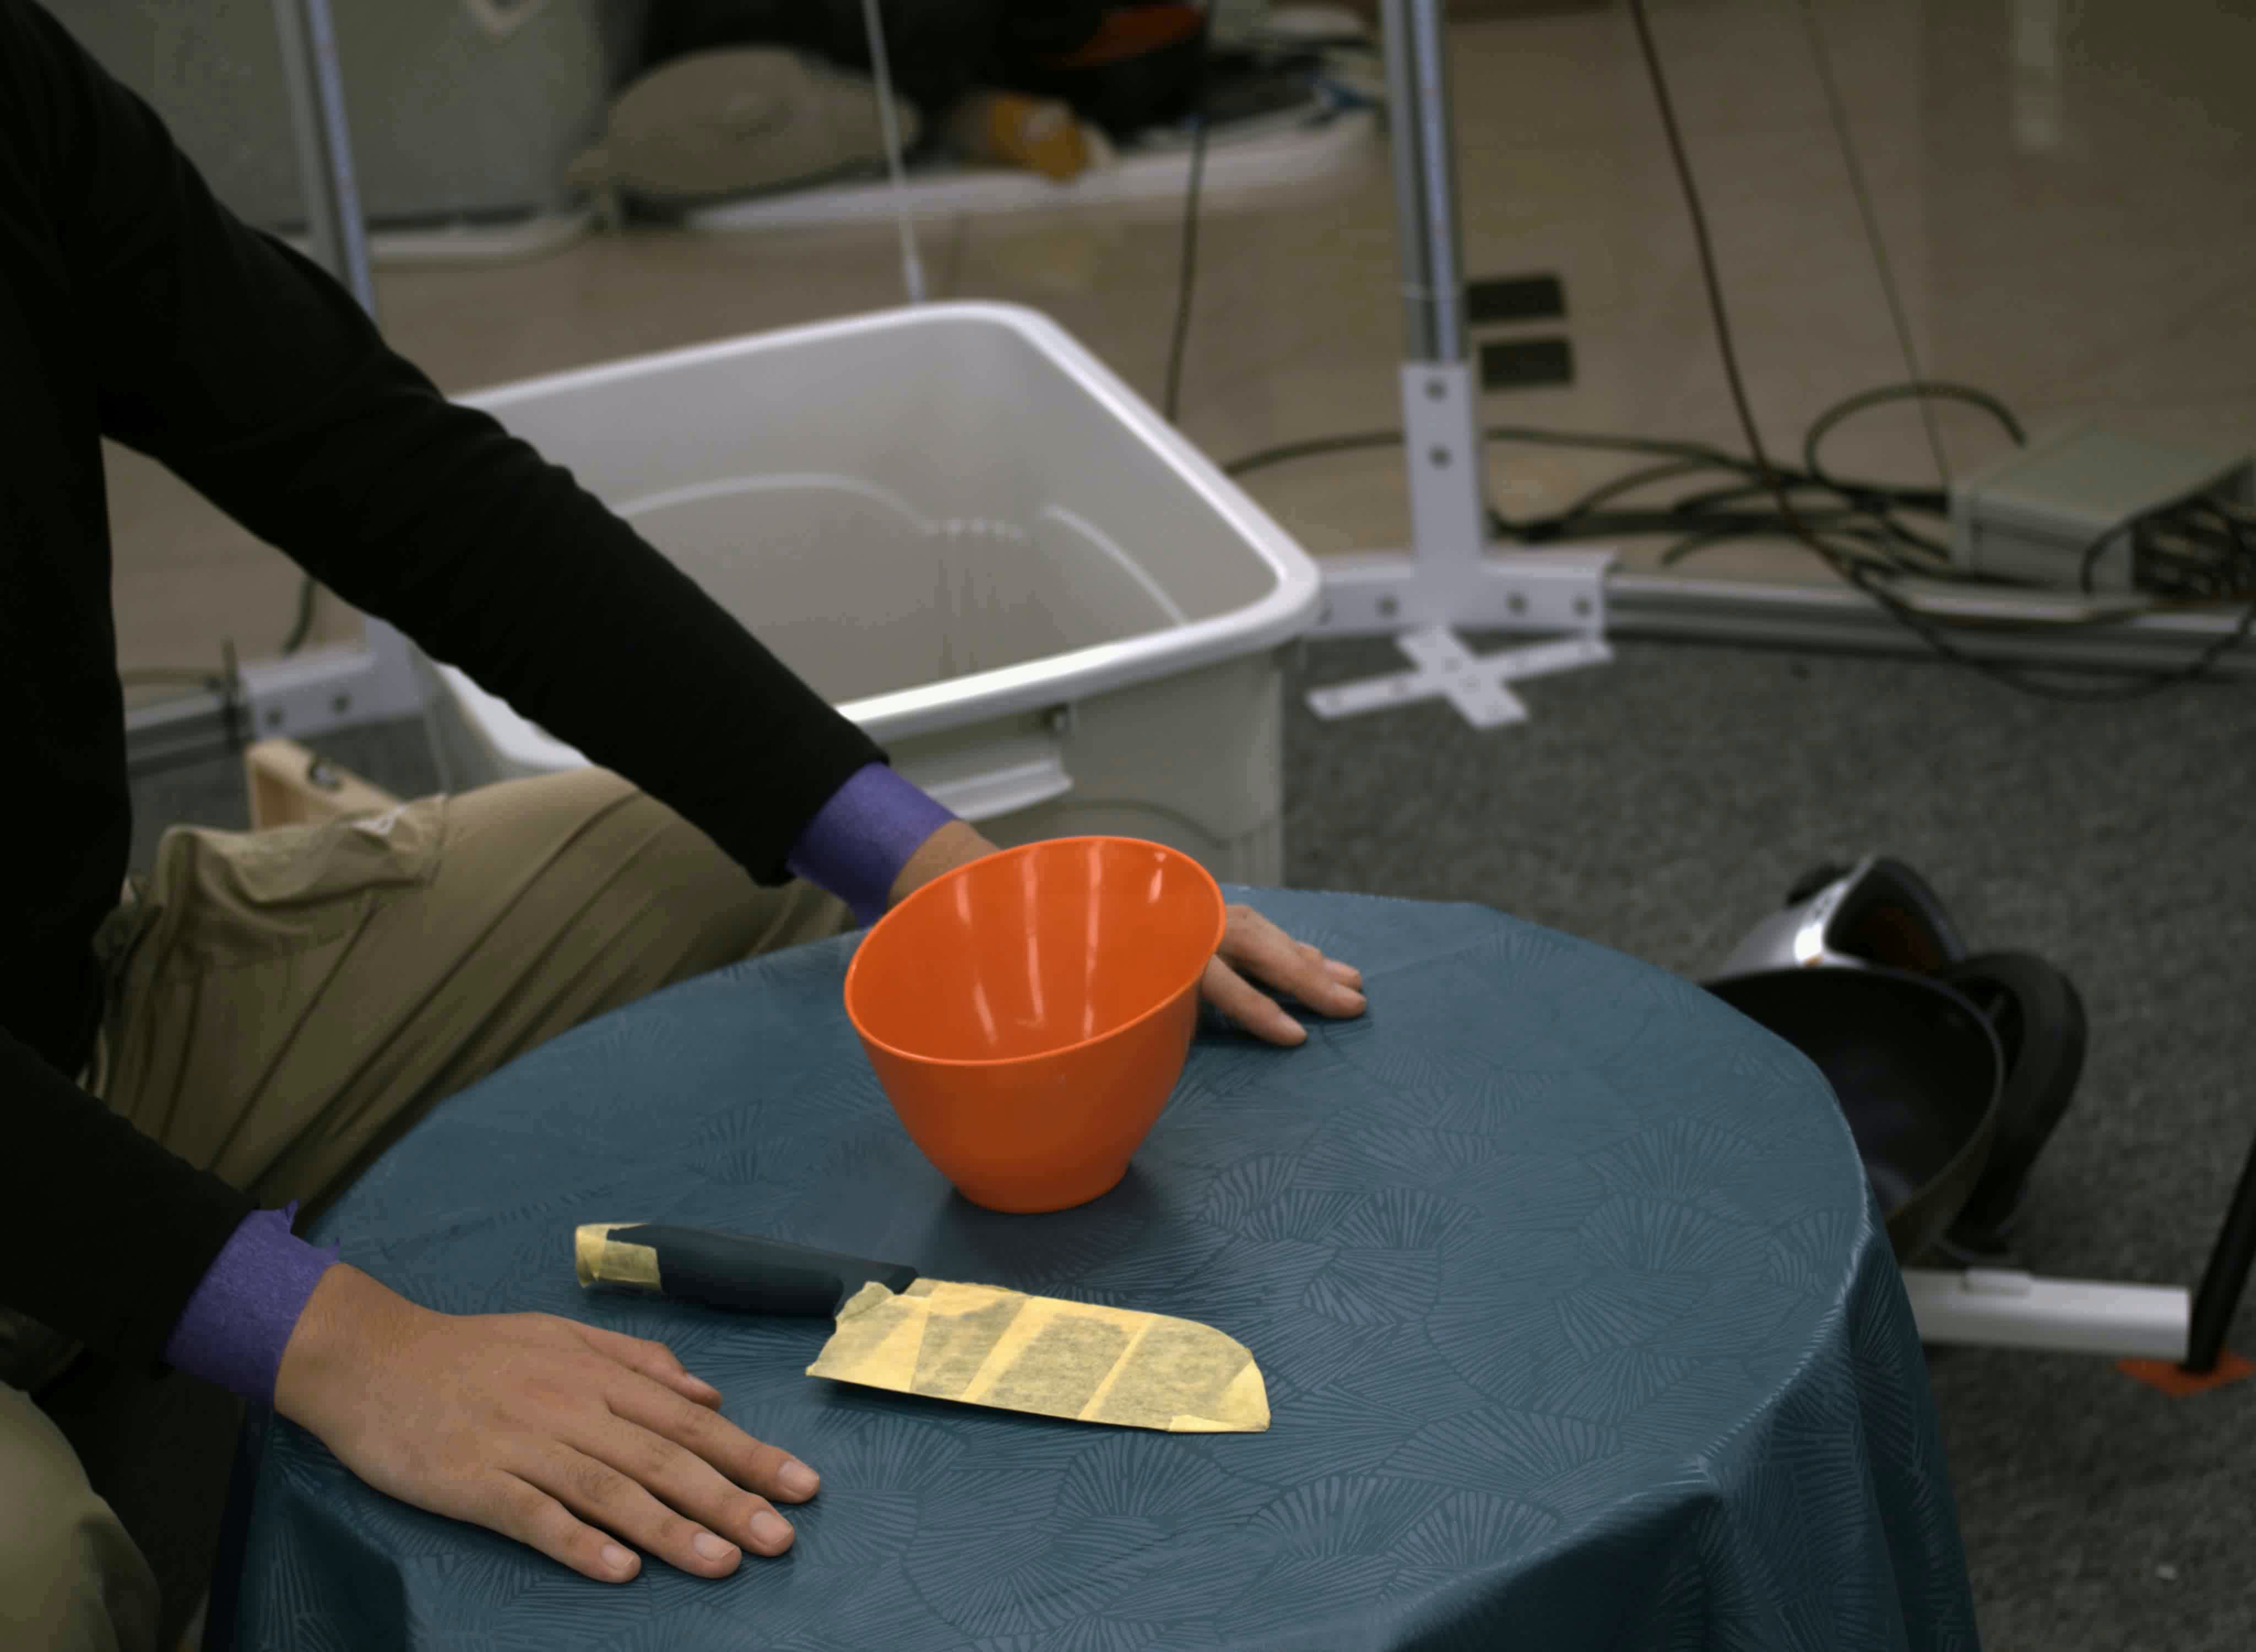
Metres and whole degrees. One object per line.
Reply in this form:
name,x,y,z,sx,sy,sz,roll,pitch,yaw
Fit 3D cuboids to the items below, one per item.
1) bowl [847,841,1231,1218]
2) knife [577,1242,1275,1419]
bowl,-0.030,0.084,2.155,0.148,0.106,0.146,-5,26,3
knife,-0.079,0.184,2.056,0.288,0.027,0.080,7,27,24
